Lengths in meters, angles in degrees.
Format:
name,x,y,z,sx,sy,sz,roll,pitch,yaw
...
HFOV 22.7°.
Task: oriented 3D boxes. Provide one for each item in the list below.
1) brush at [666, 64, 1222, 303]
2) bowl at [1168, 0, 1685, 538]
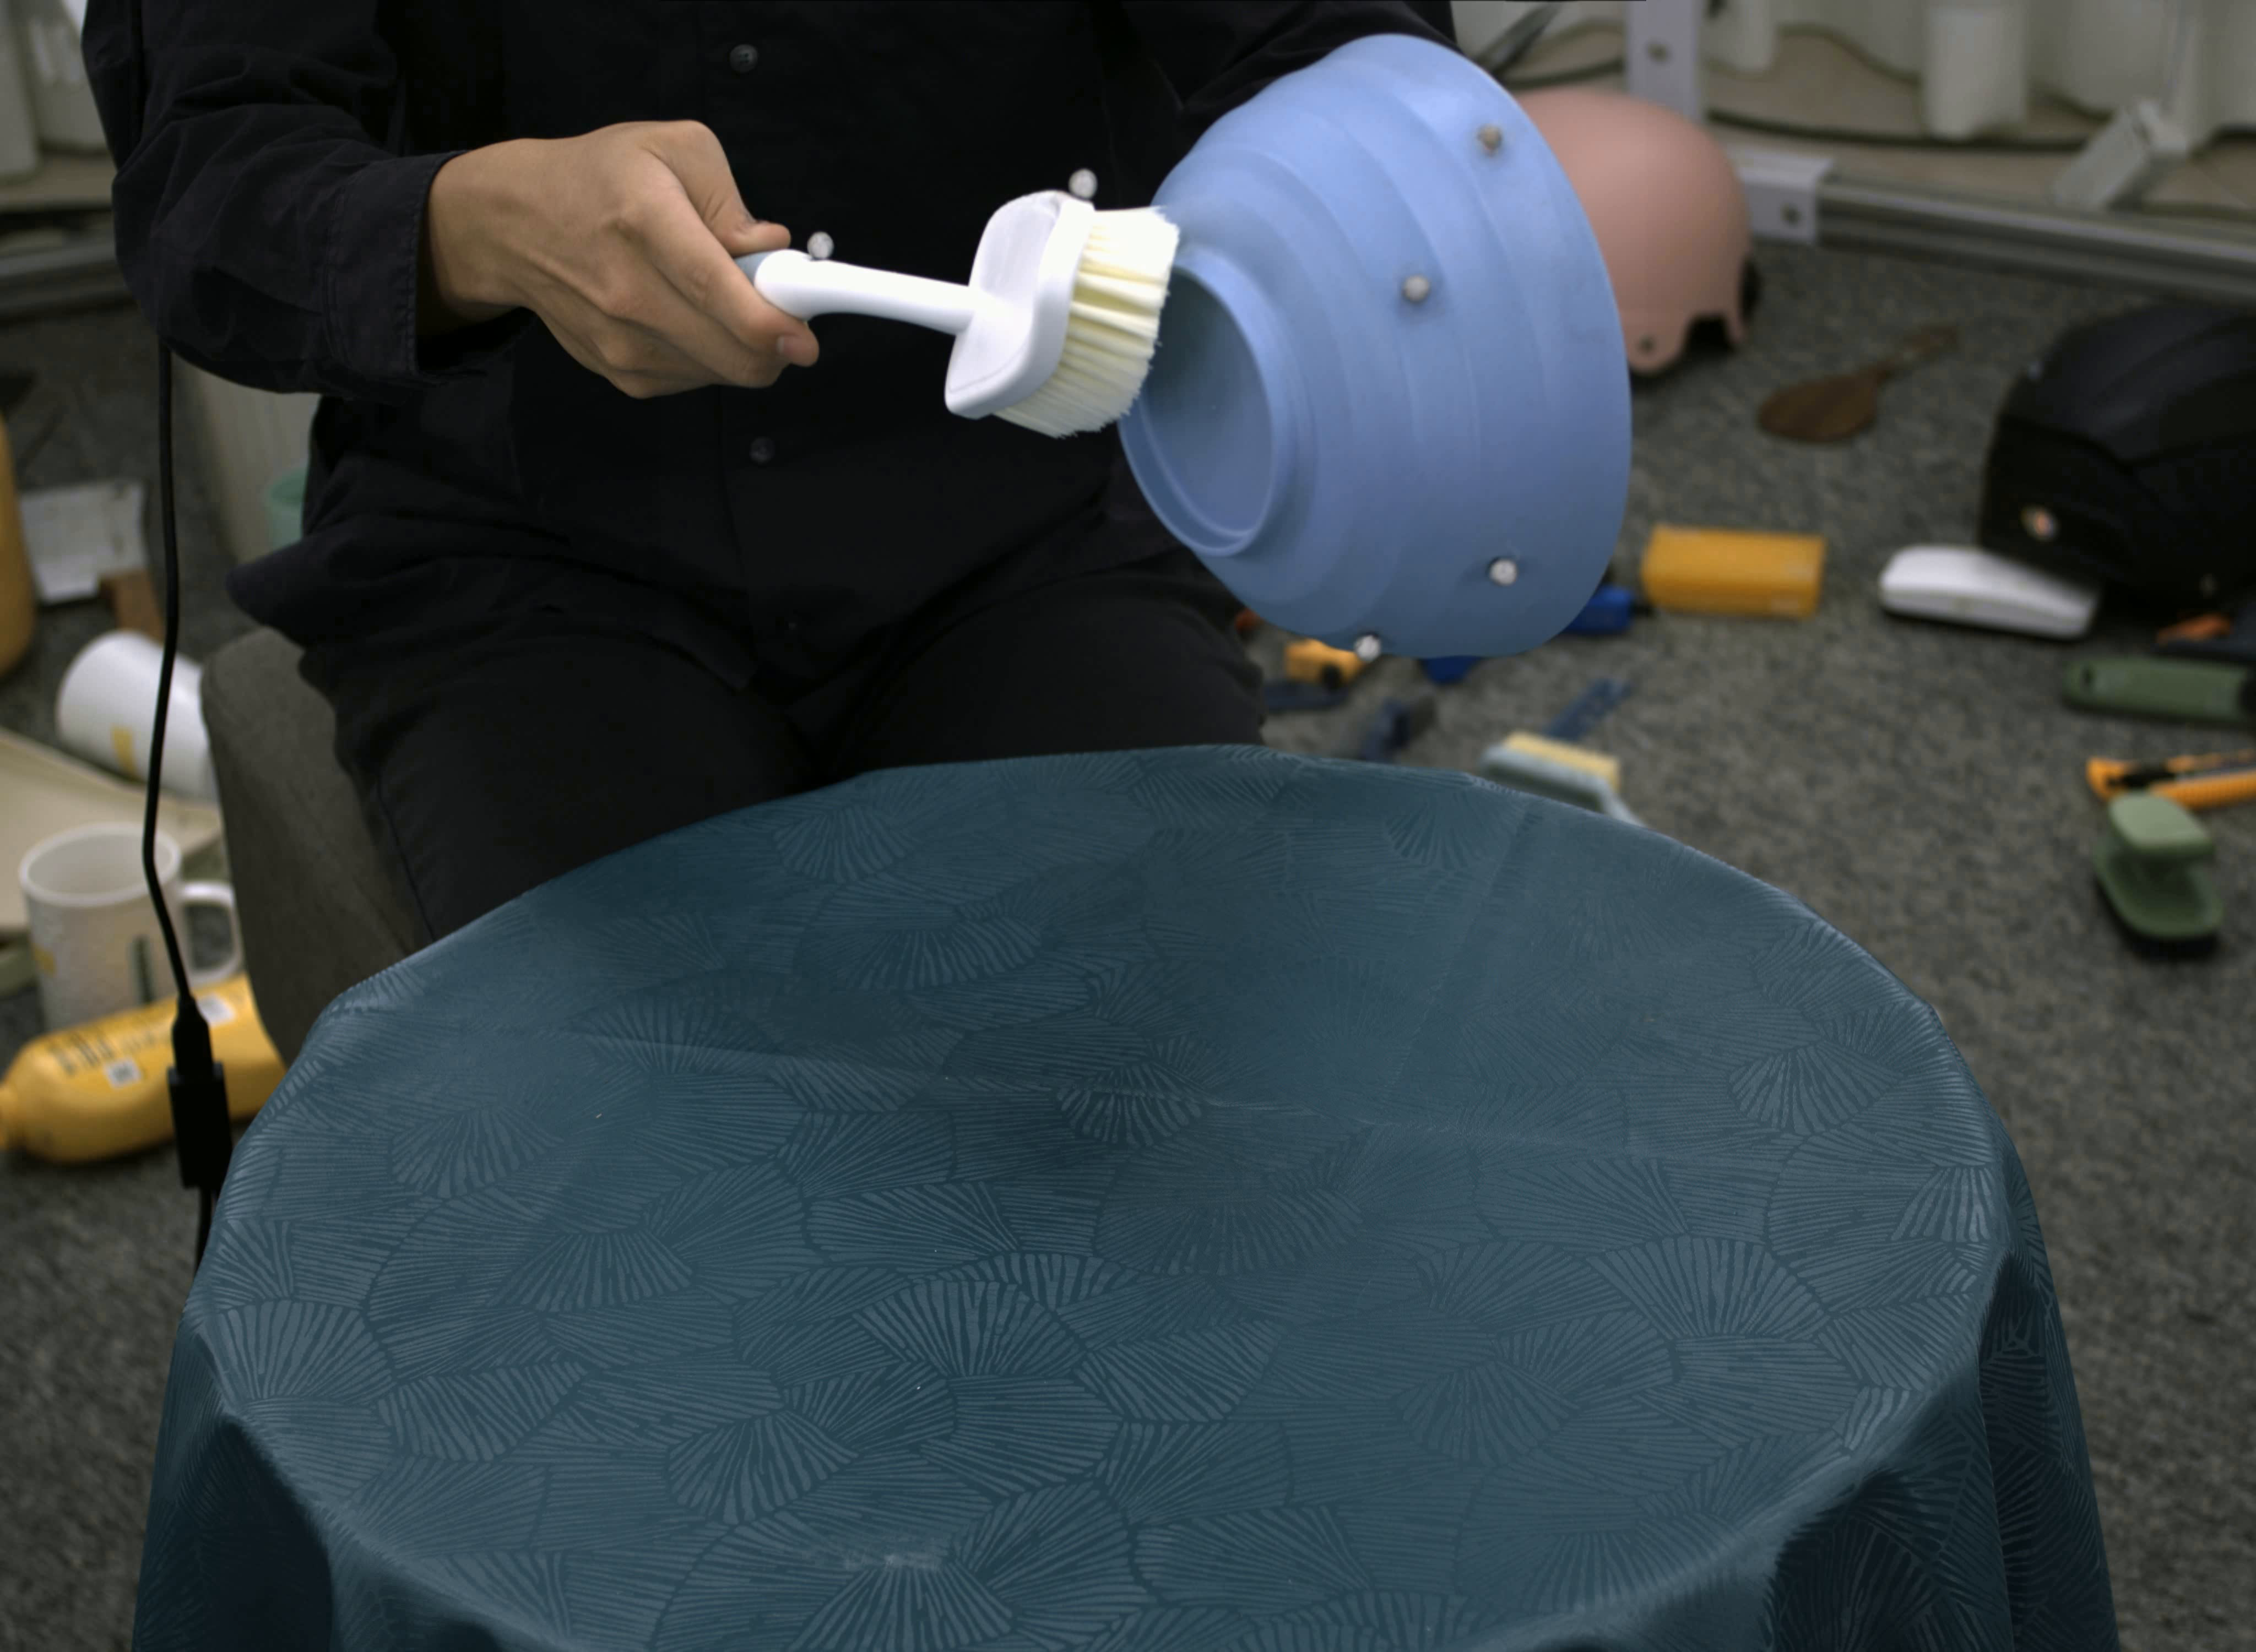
name,x,y,z,sx,sy,sz,roll,pitch,yaw
brush,-0.047,-0.209,1.836,0.084,0.084,0.323,-44,21,-19
bowl,0.075,-0.176,1.746,0.096,0.194,0.197,-16,30,-29
